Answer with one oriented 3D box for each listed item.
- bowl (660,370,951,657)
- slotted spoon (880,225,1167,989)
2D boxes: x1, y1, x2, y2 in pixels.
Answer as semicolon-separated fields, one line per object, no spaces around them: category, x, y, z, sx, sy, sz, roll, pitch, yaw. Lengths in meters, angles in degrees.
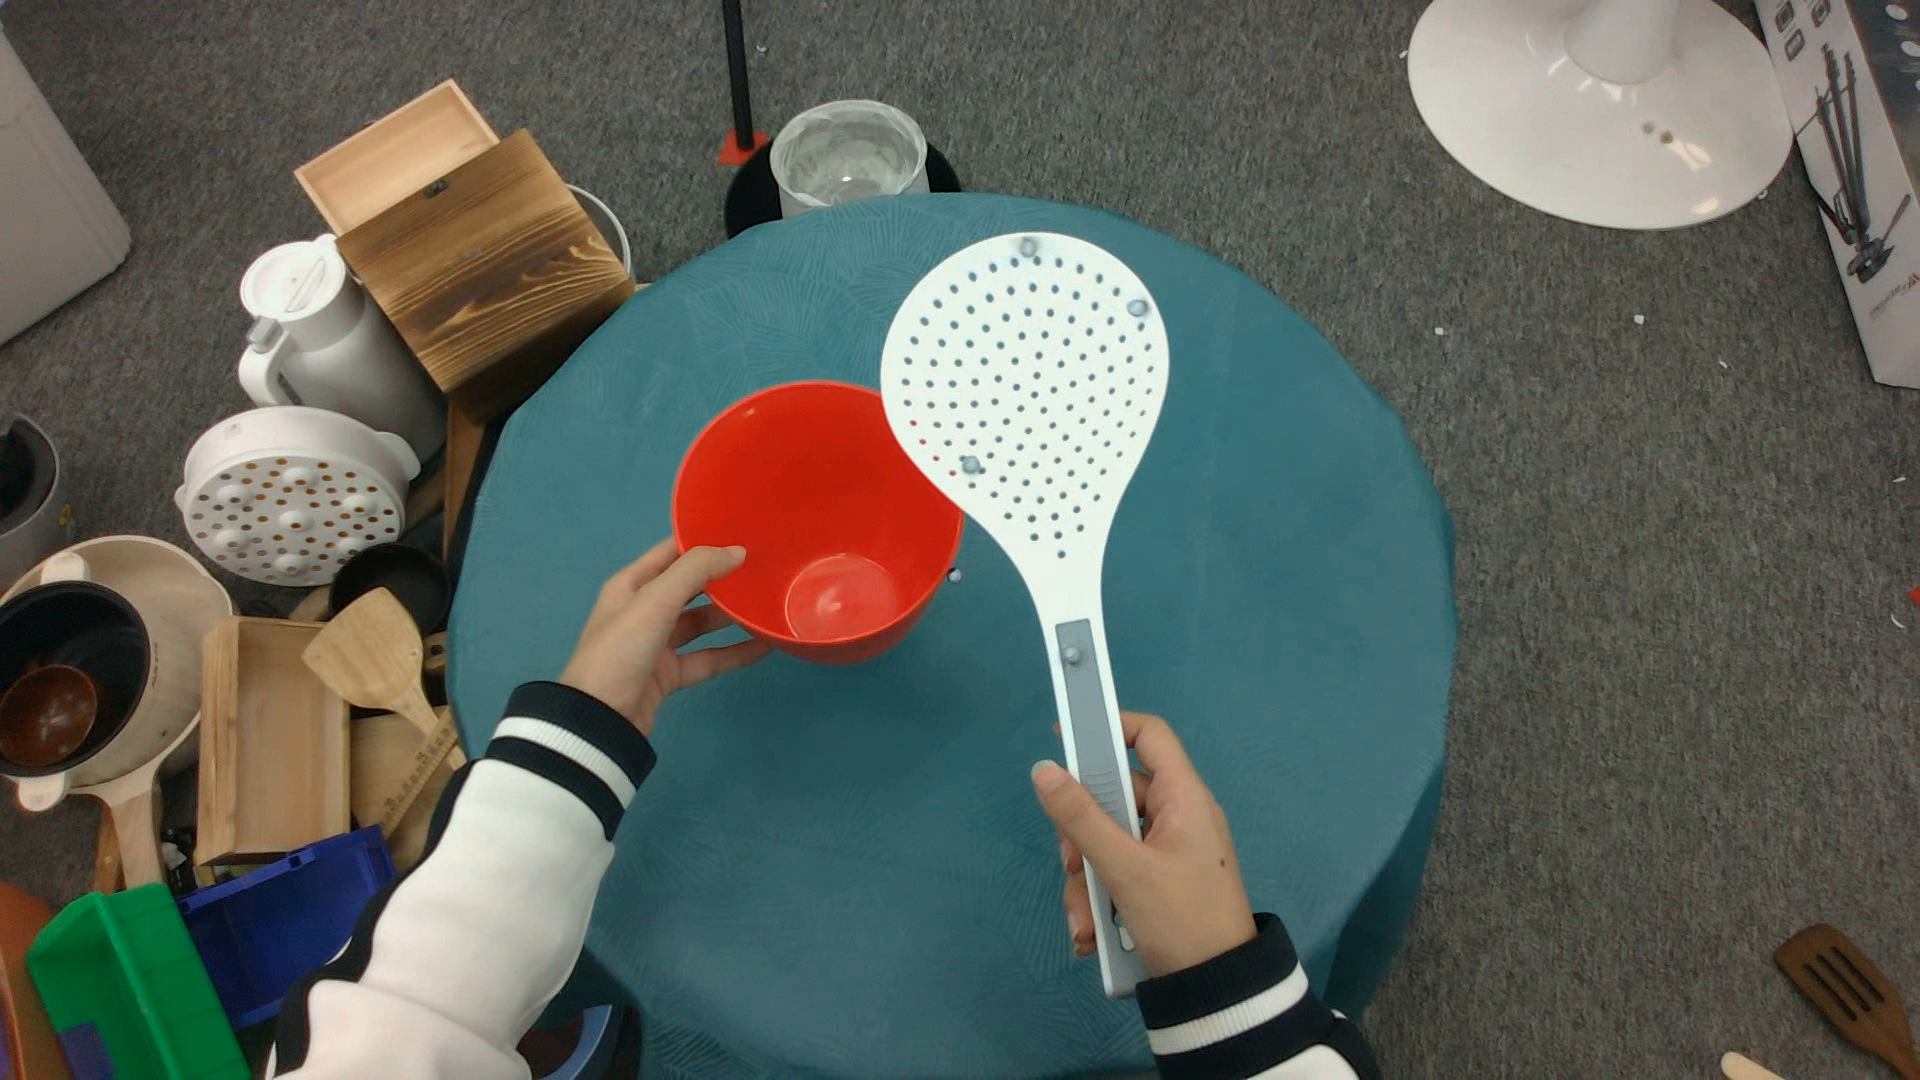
bowl;-0.080;-0.001;0.737;0.148;0.104;0.148;2;60;-3
slotted spoon;0.045;0.018;0.619;0.136;0.045;0.351;-10;68;7
